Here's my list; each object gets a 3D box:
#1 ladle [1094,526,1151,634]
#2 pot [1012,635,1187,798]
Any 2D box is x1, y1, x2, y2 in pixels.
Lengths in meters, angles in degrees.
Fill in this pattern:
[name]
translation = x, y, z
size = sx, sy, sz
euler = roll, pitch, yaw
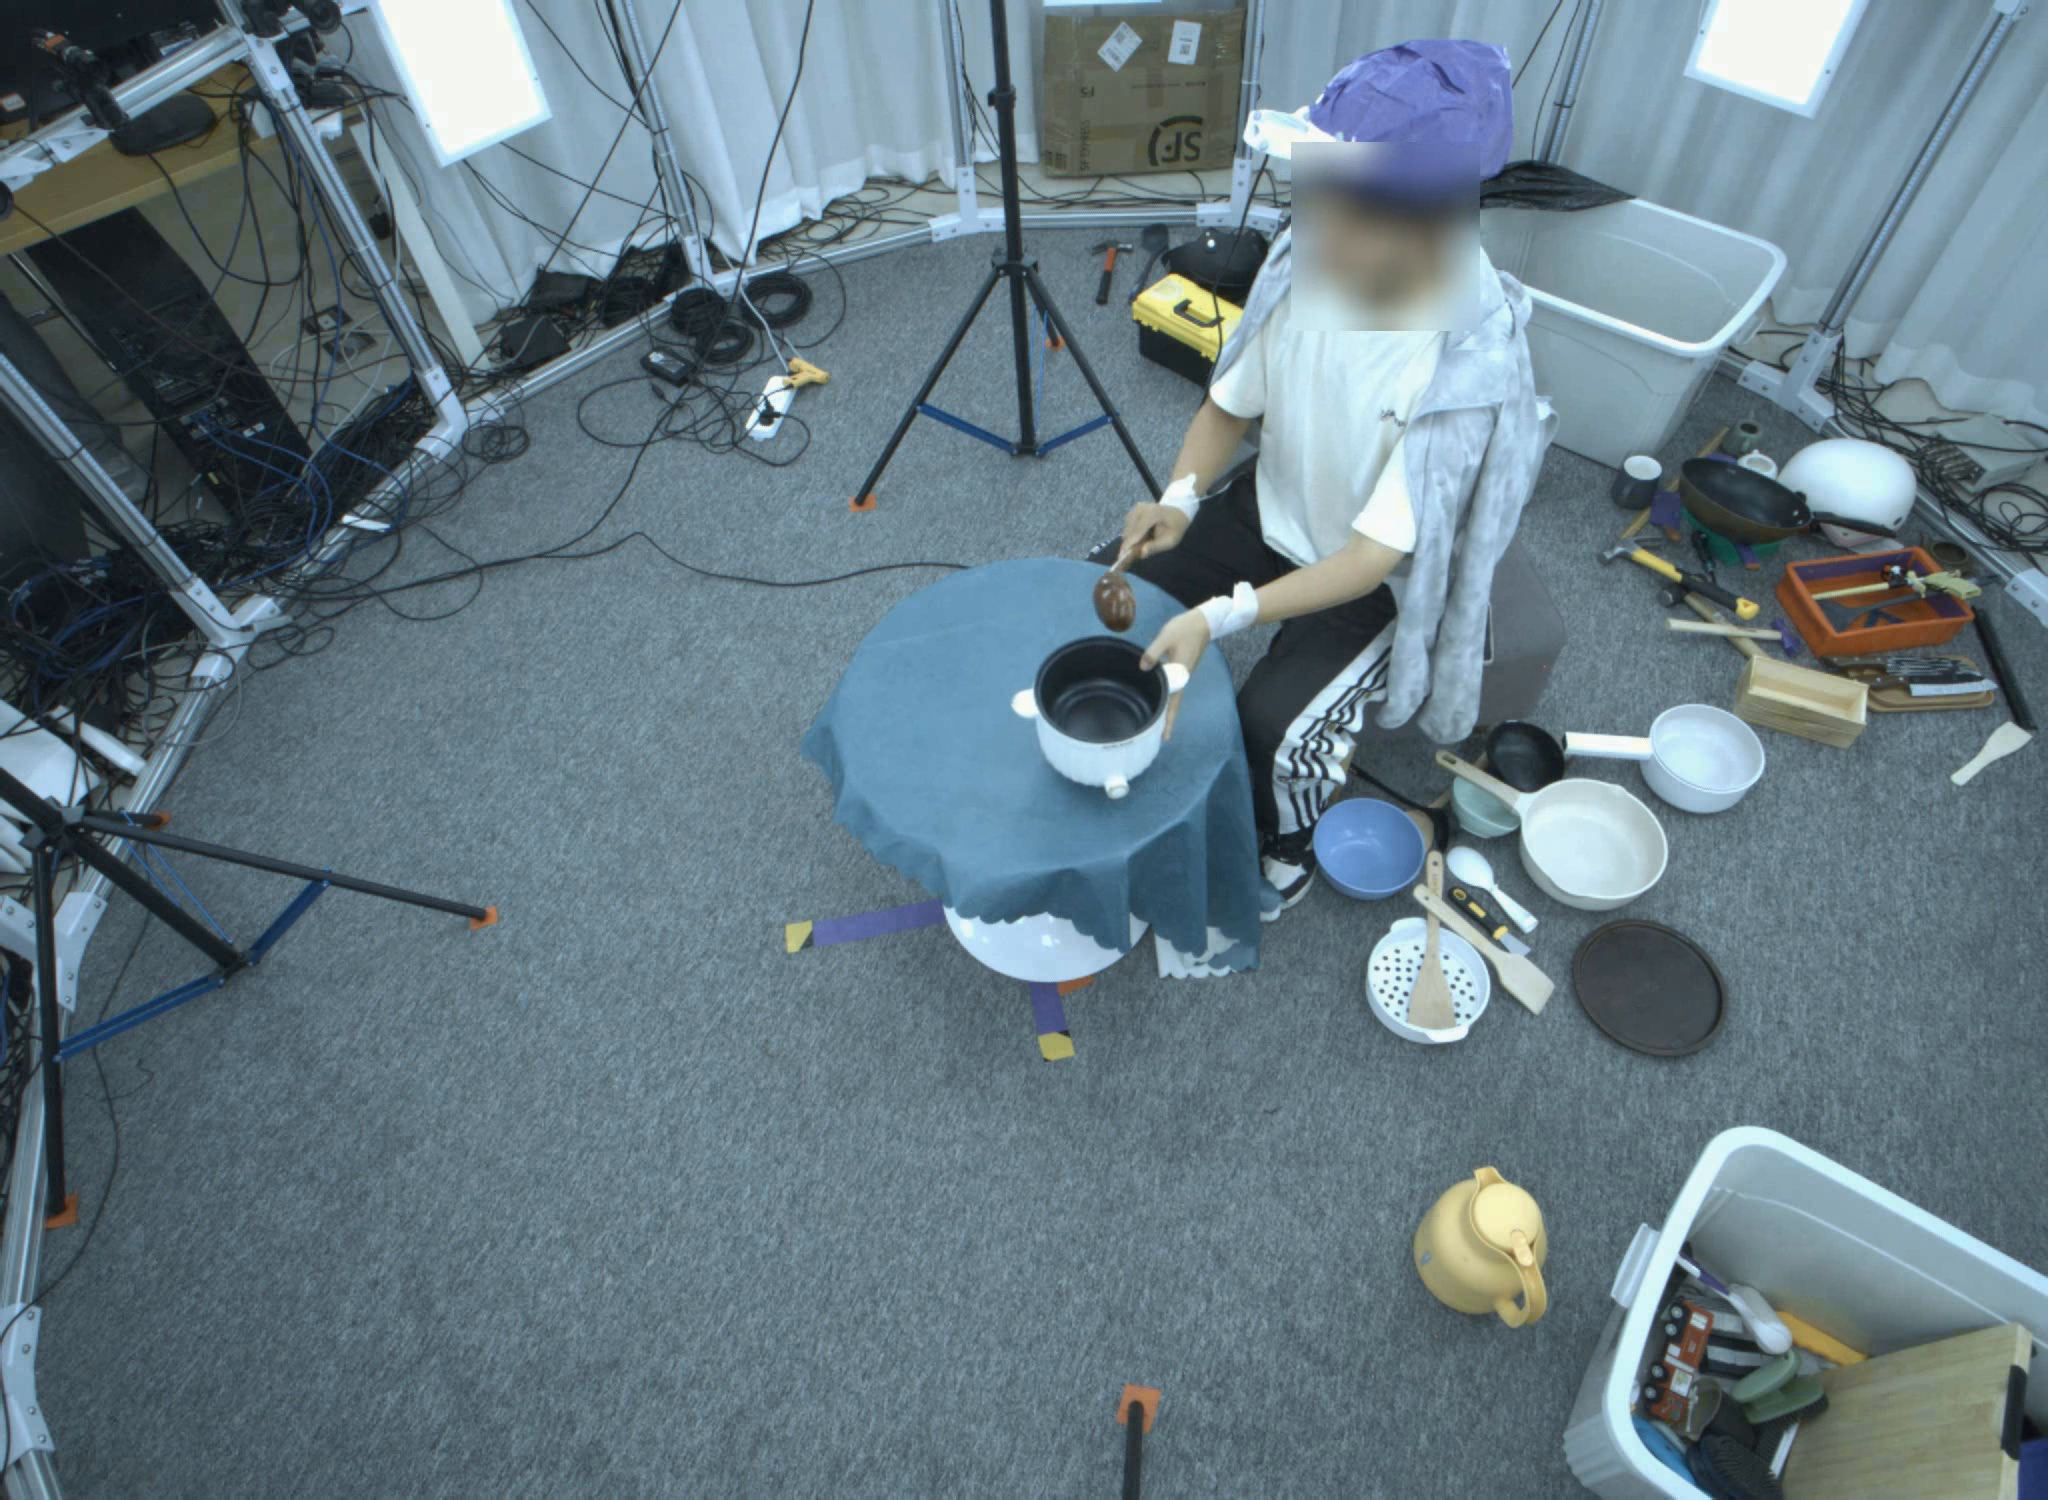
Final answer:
[ladle]
translation = 0.163, -0.252, 1.737
size = 0.076, 0.082, 0.275
euler = 22, 38, 11
[pot]
translation = 0.107, -0.042, 1.693
size = 0.241, 0.144, 0.187
euler = -12, 53, -5
